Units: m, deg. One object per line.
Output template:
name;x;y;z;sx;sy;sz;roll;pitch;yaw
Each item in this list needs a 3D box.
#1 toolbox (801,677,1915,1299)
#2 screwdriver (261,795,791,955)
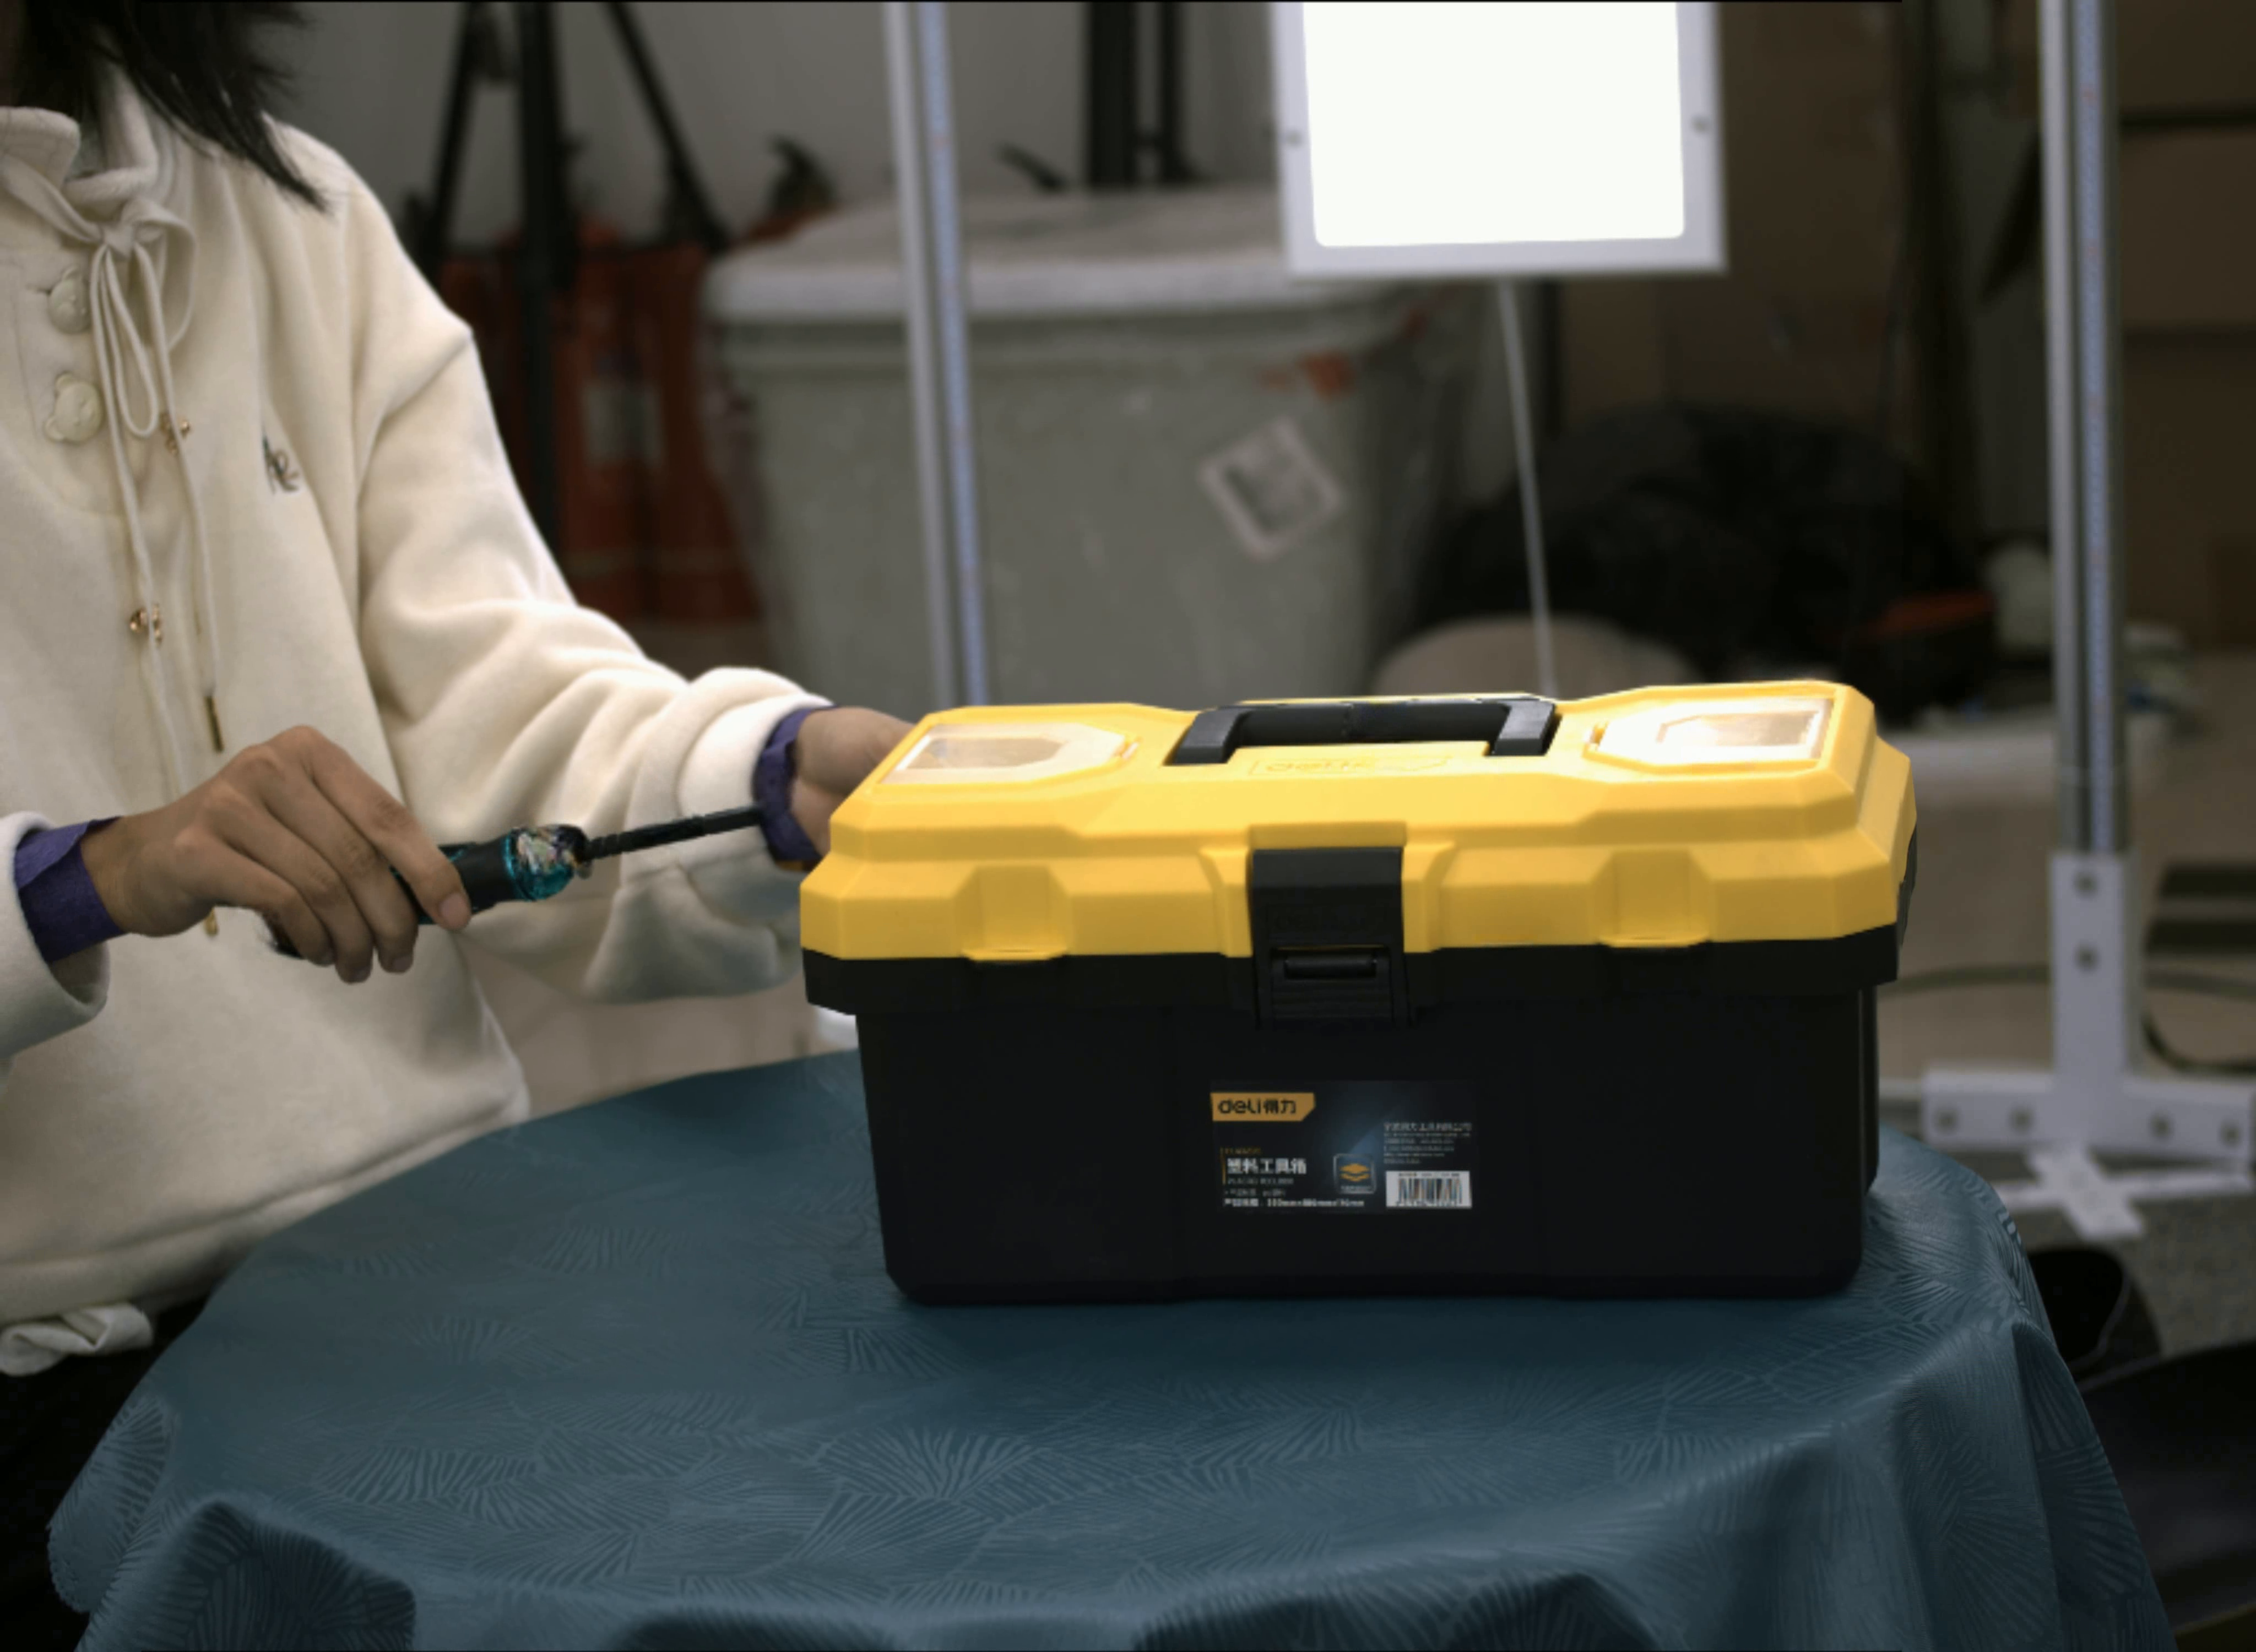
toolbox;0.080;0.054;1.799;0.354;0.173;0.179;-1;14;14
screwdriver;-0.198;0.013;1.818;0.192;0.034;0.033;-12;11;19
